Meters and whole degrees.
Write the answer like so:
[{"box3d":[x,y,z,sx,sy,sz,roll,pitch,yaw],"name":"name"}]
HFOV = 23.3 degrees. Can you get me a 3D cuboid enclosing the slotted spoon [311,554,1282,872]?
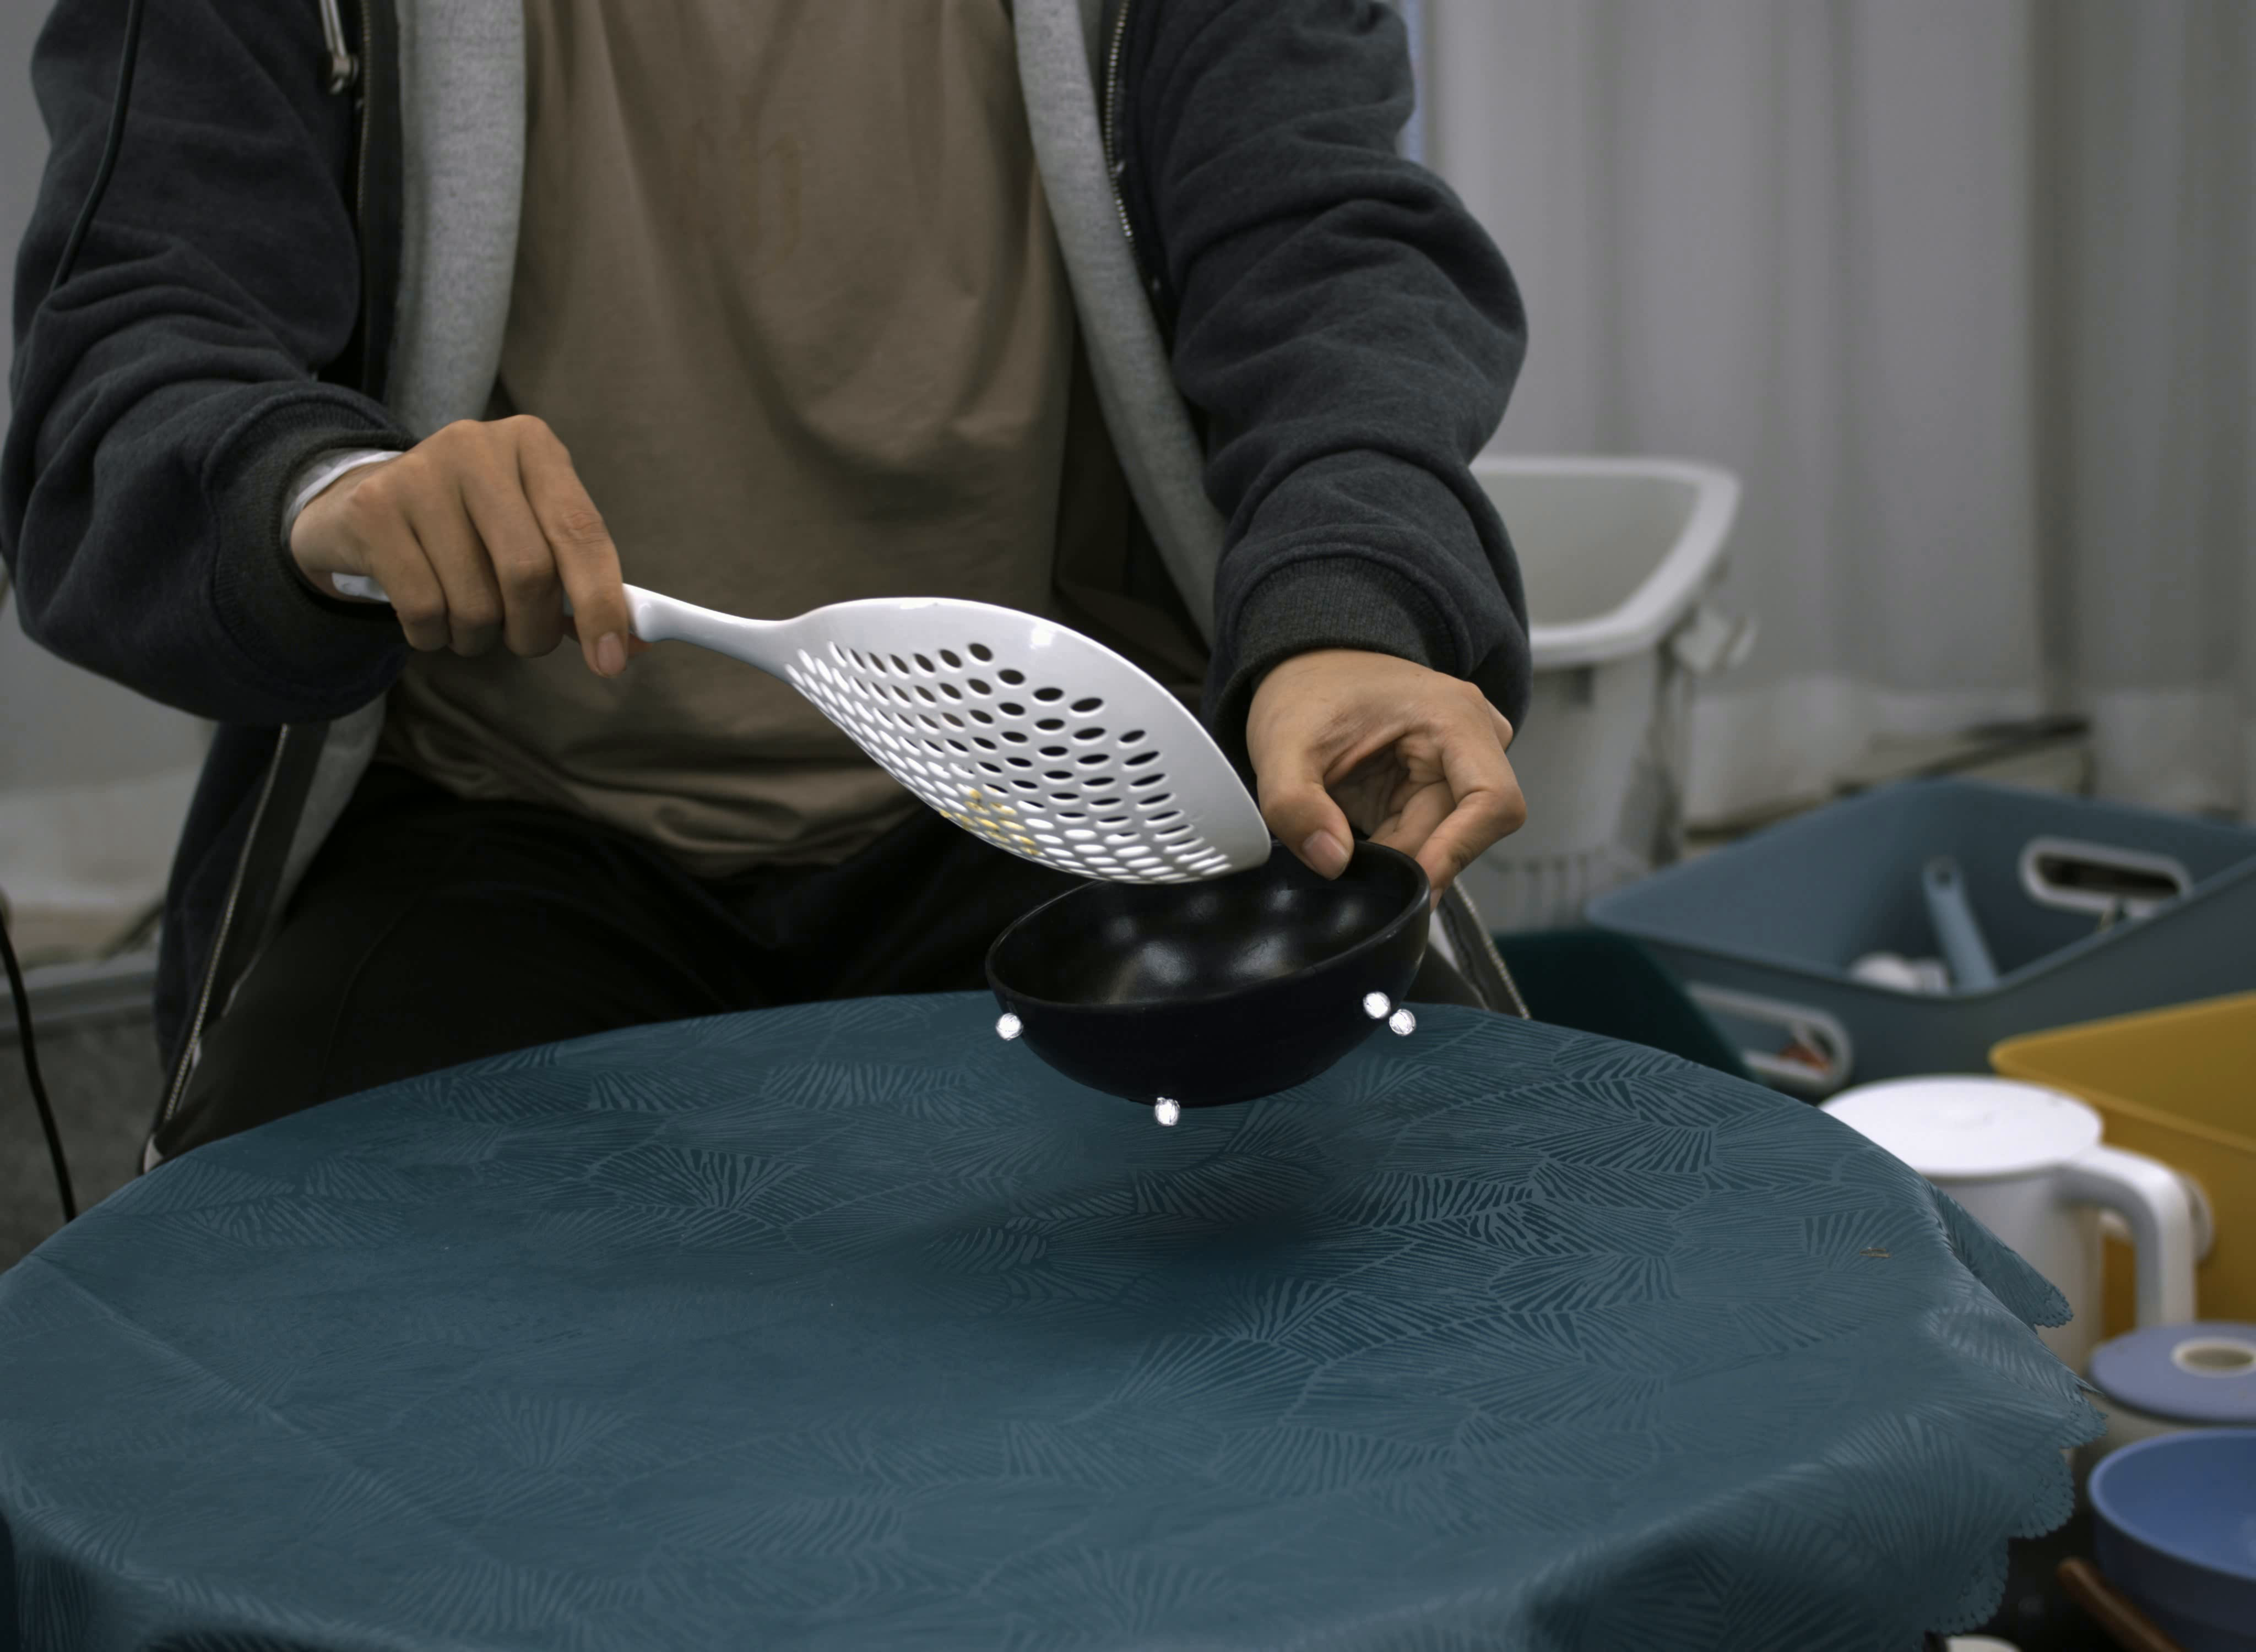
[{"box3d":[-0.111,-0.047,1.691,0.350,0.050,0.135,20,-20,33],"name":"slotted spoon"}]
